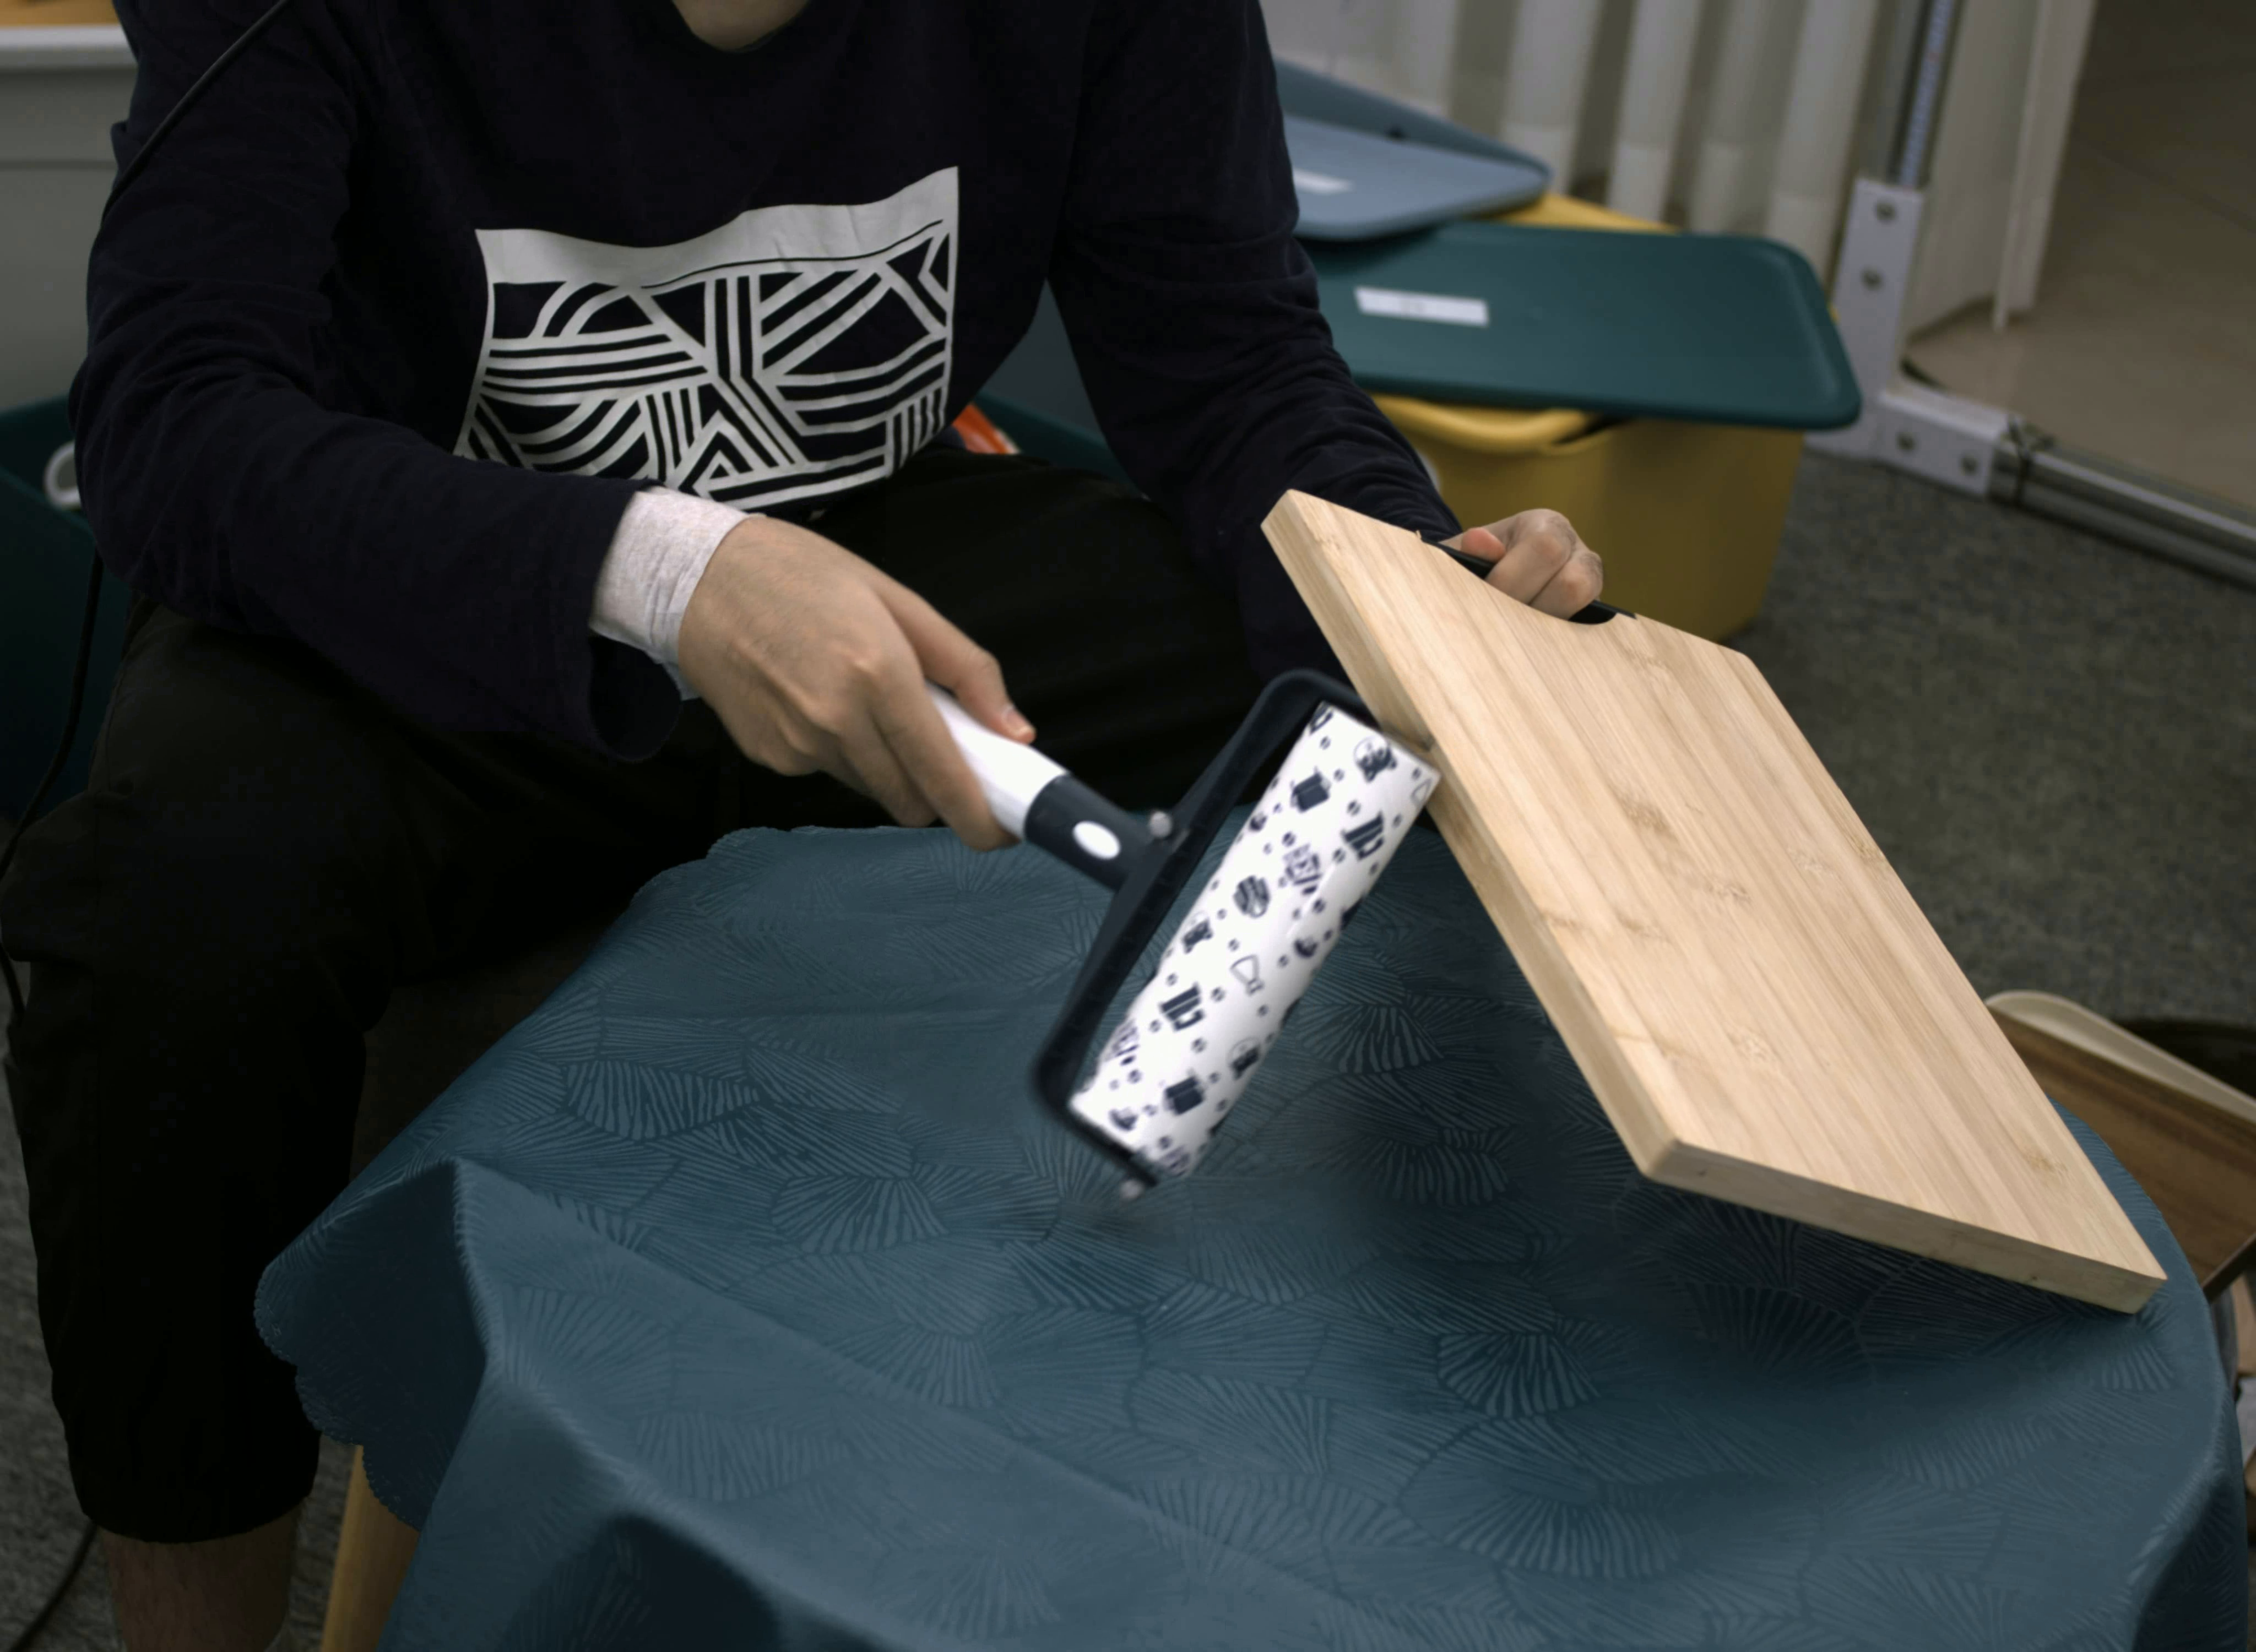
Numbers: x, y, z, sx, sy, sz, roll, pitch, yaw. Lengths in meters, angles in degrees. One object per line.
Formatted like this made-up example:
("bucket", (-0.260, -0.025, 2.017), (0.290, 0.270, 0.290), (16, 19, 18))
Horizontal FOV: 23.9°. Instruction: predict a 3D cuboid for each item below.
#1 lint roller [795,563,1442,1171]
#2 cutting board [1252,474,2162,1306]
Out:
("lint roller", (-0.032, -0.018, 1.811), (0.249, 0.176, 0.050), (38, 2, 28))
("cutting board", (0.196, 0.019, 1.850), (0.248, 0.023, 0.352), (18, 30, -37))
